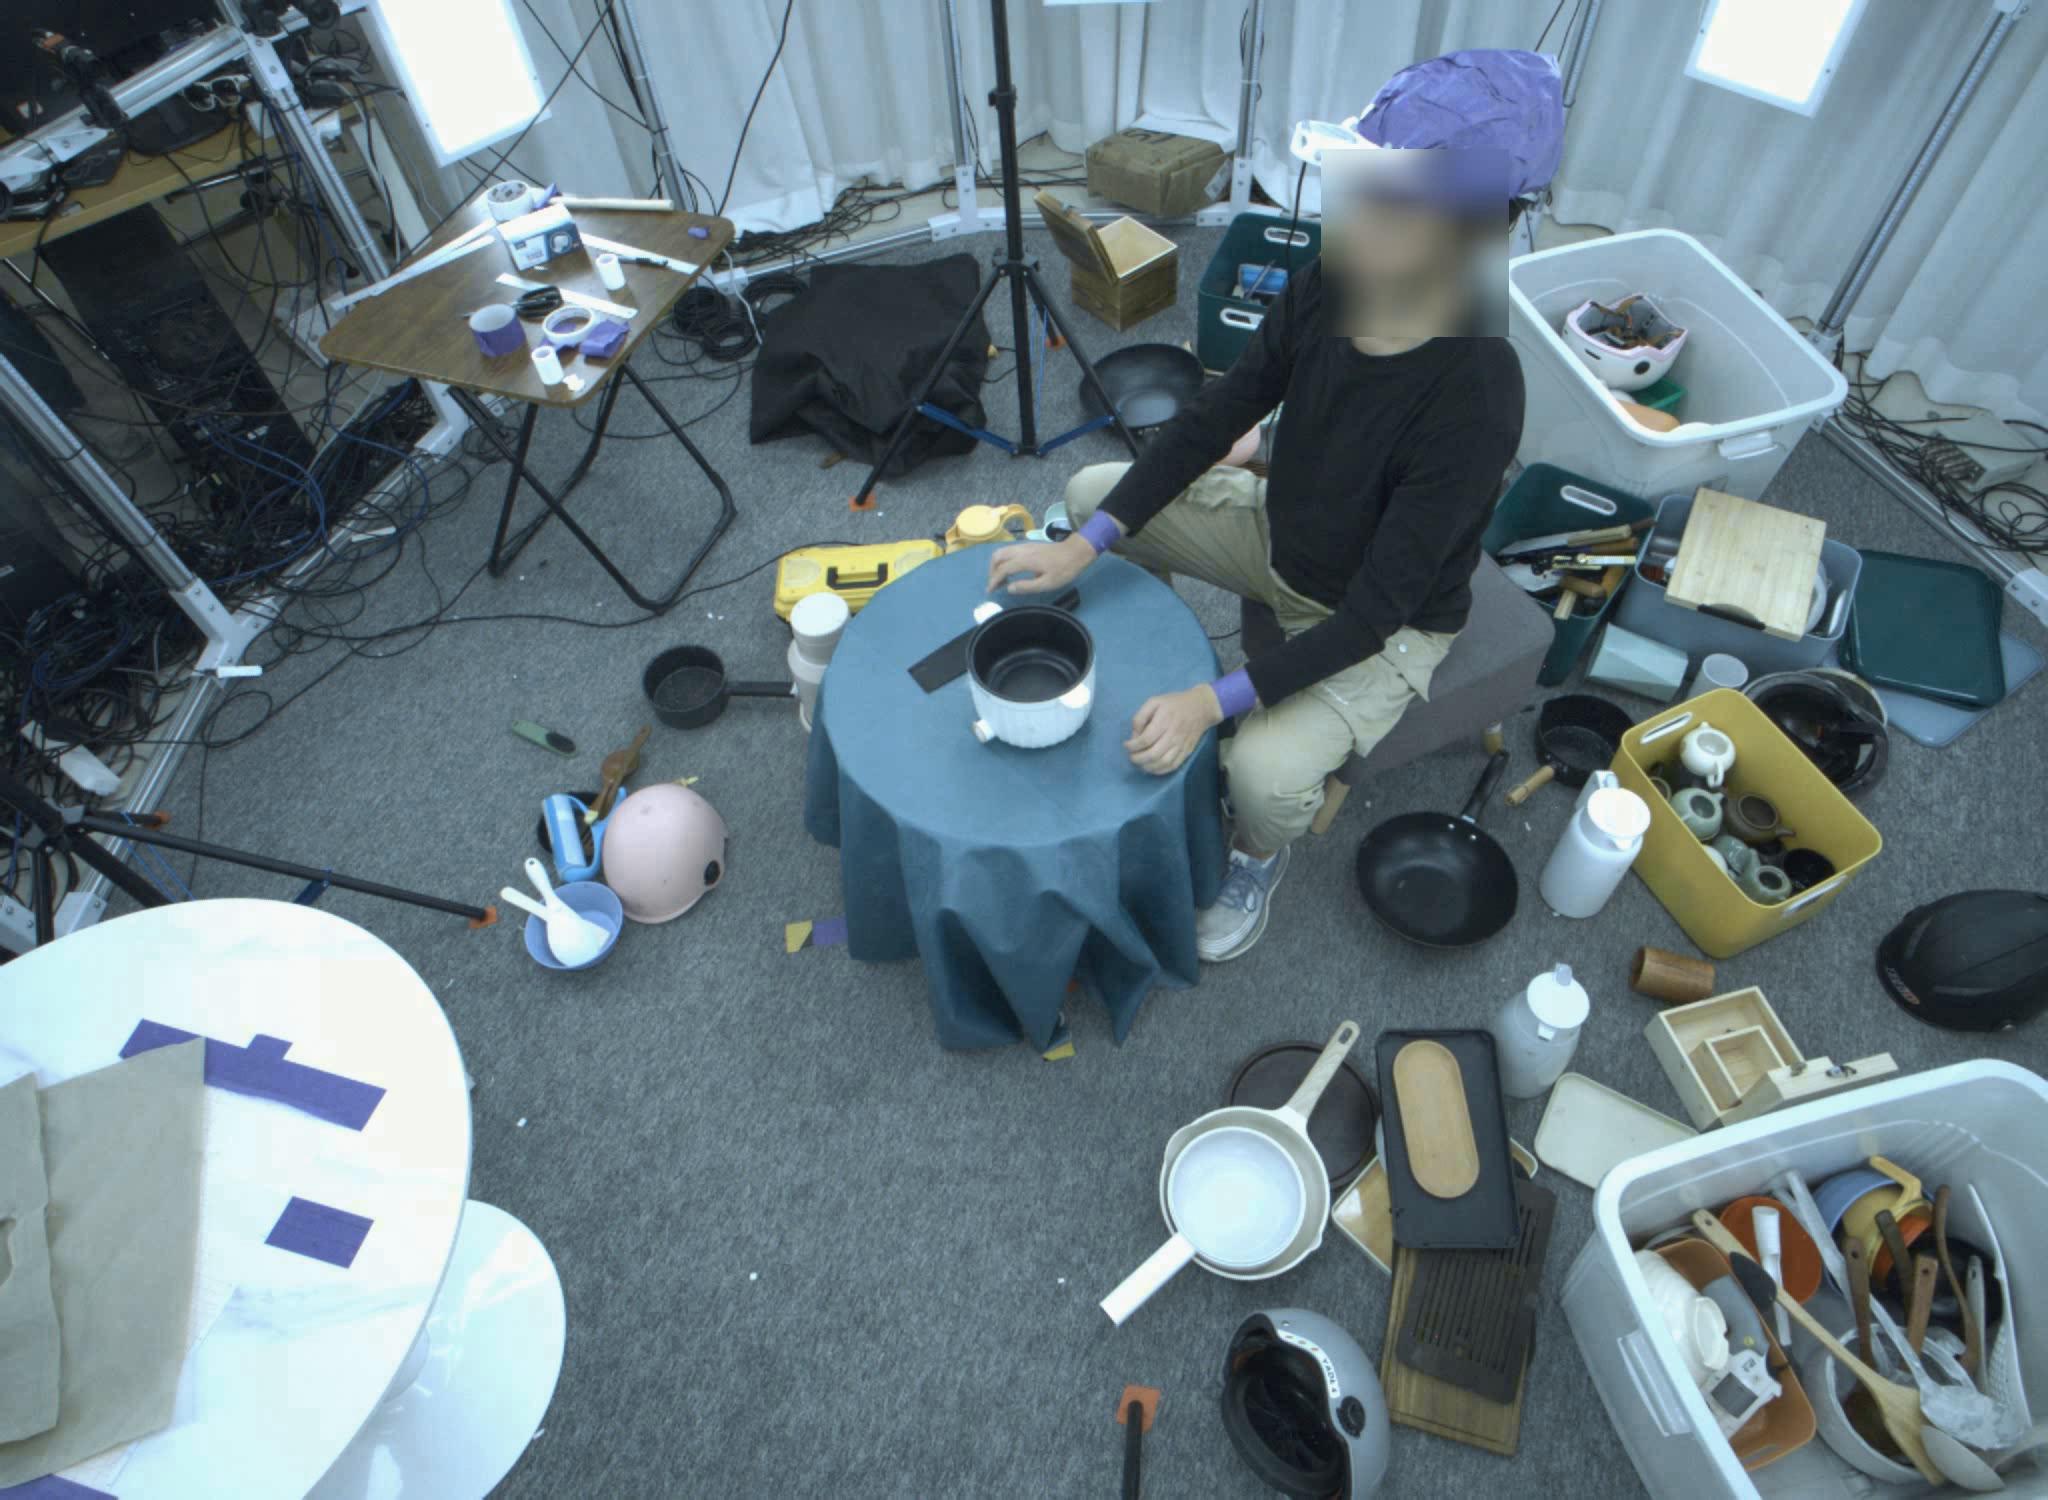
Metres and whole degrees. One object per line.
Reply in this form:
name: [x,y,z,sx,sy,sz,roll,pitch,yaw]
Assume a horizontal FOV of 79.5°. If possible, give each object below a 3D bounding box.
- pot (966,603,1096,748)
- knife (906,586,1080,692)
pot: [0.008,-0.095,1.766,0.192,0.144,0.236,-32,58,-23]
knife: [-0.042,-0.179,1.904,0.304,0.021,0.079,-28,58,-15]
